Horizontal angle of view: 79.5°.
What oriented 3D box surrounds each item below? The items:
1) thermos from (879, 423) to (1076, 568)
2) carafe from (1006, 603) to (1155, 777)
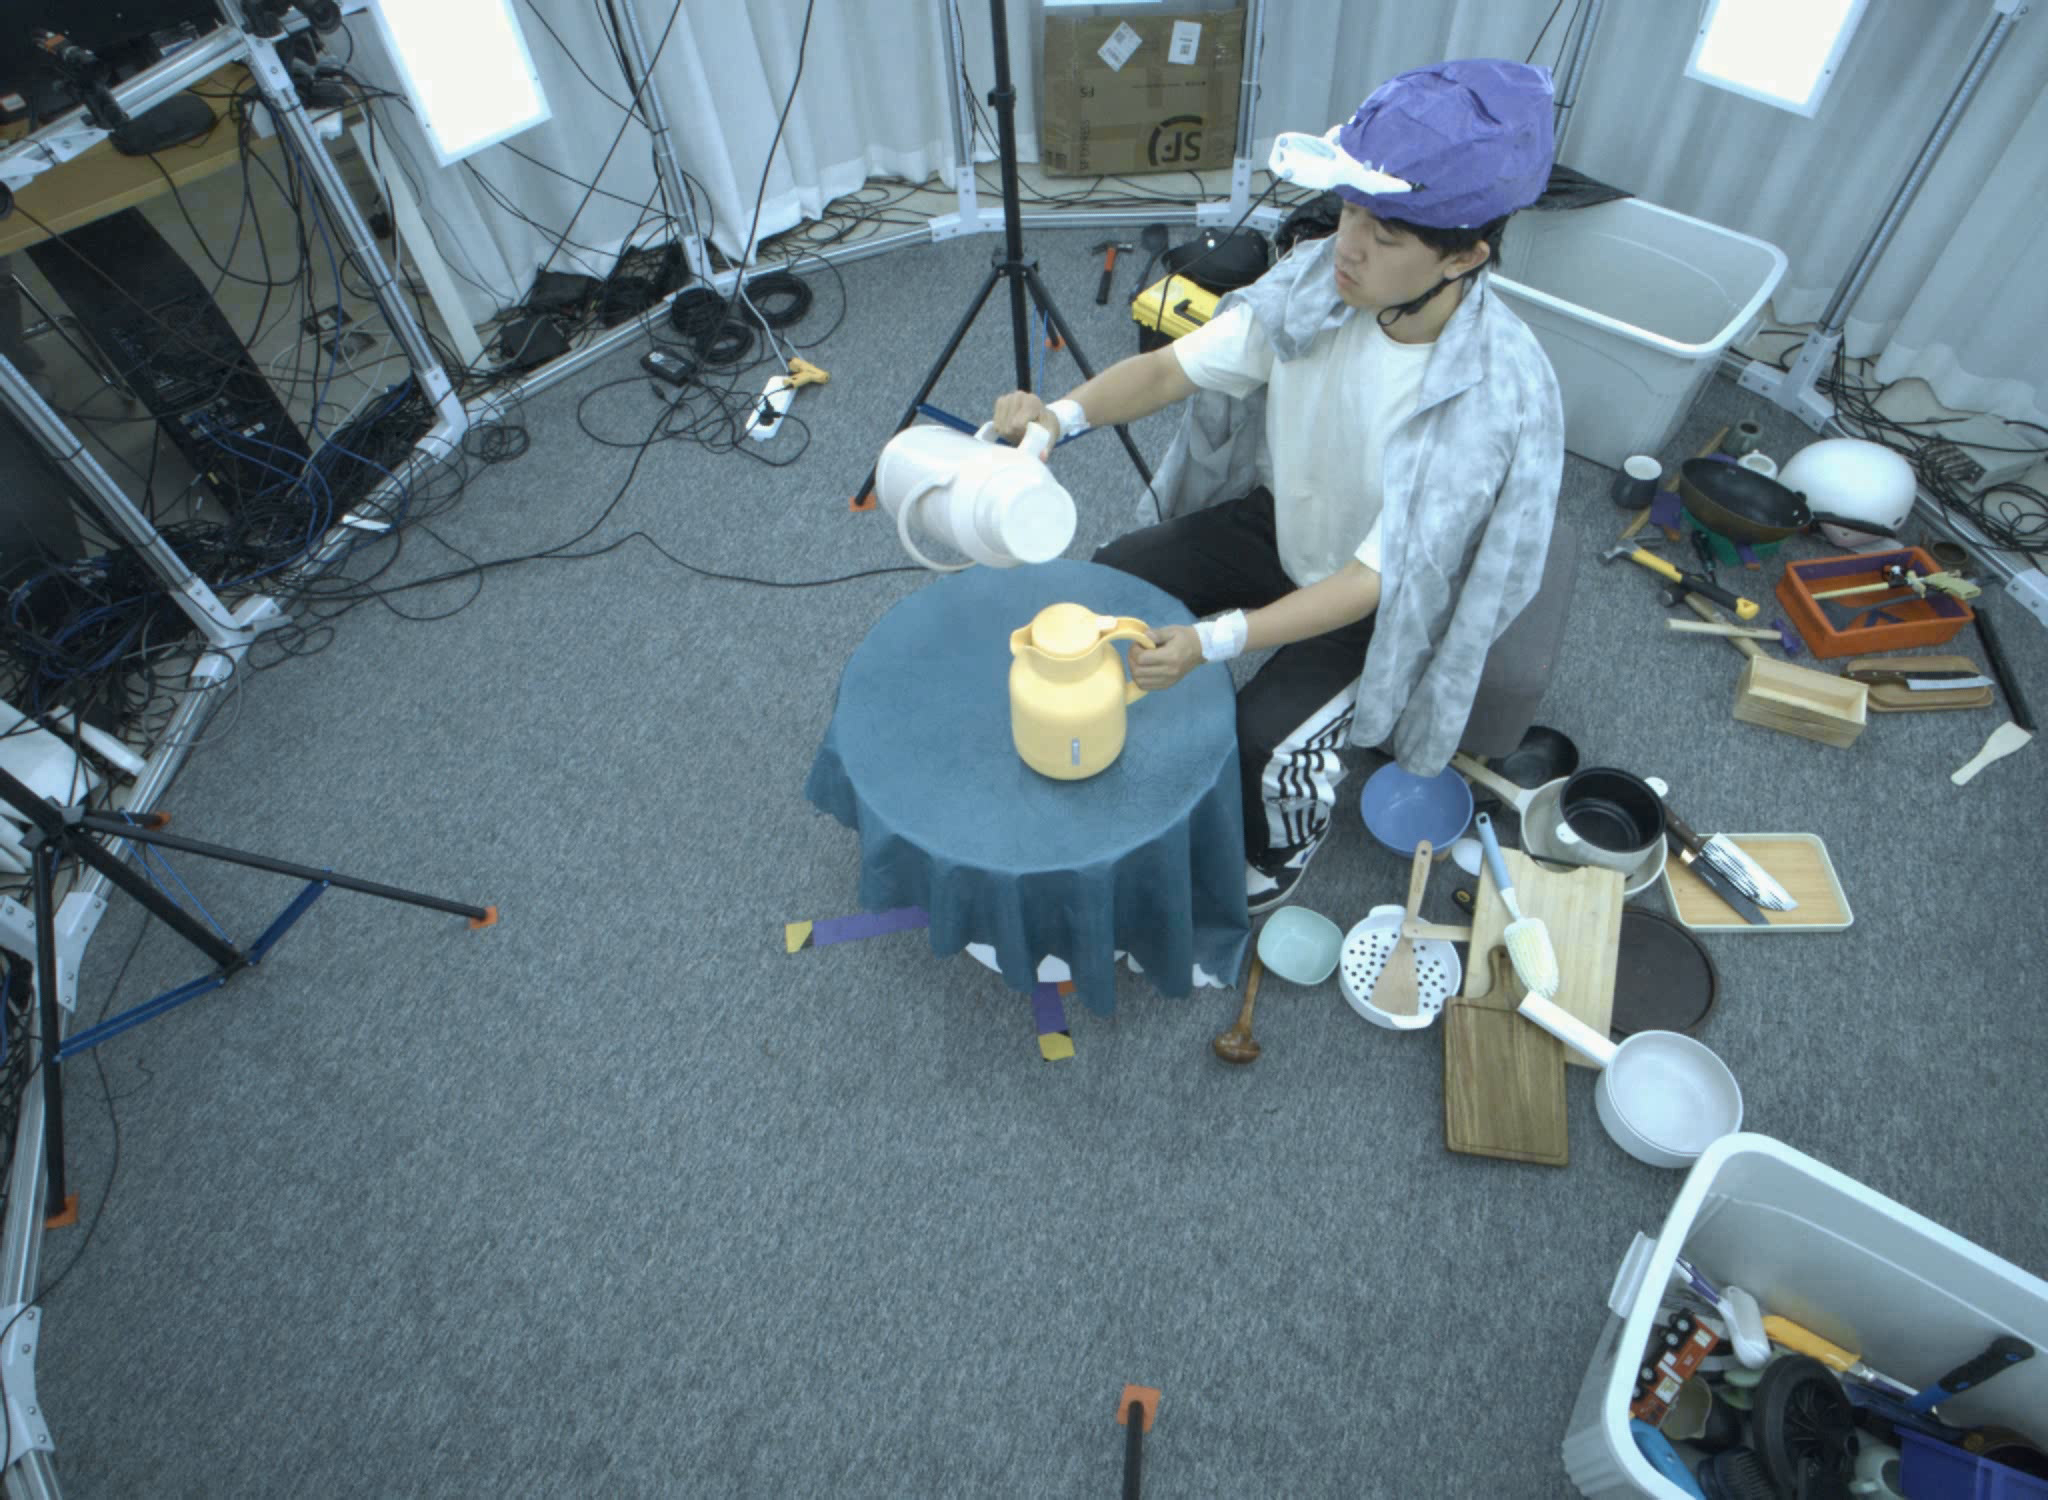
[{"bbox_3d":[-0.058,-0.357,1.666,0.207,0.179,0.397,-61,32,6],"label":"thermos"},{"bbox_3d":[0.078,-0.089,1.689,0.202,0.263,0.161,-8,57,-1],"label":"carafe"}]
